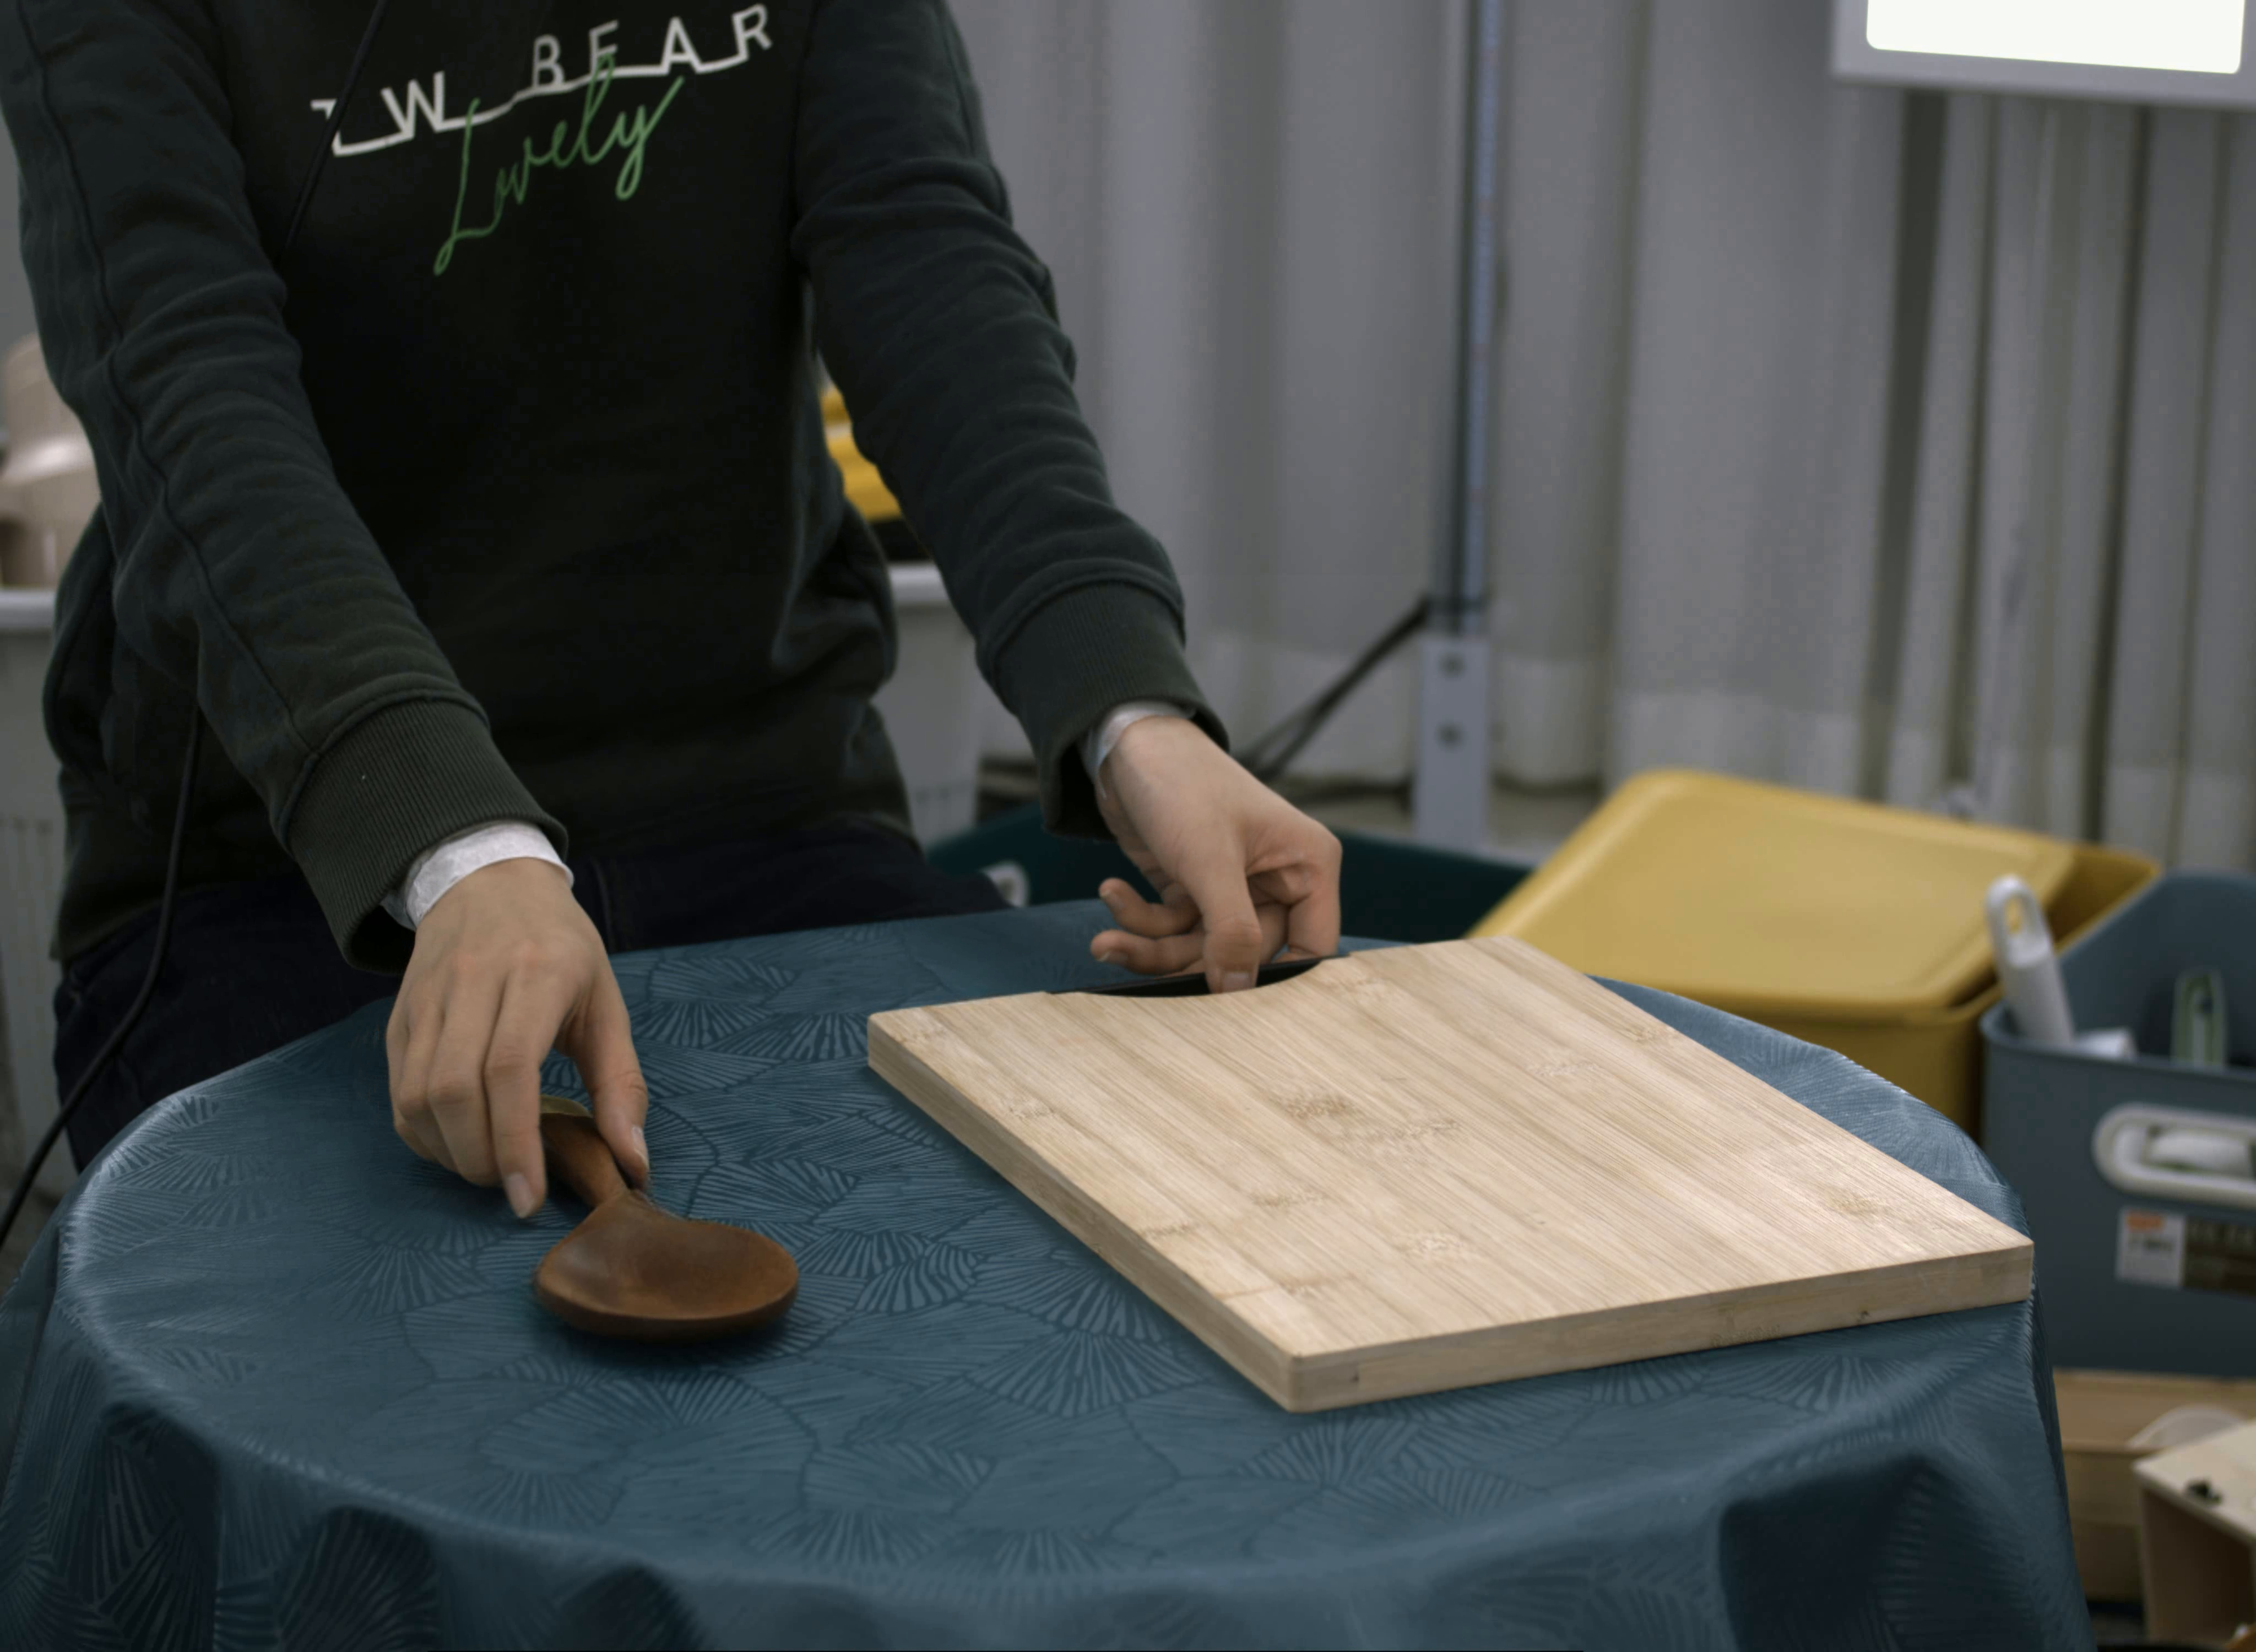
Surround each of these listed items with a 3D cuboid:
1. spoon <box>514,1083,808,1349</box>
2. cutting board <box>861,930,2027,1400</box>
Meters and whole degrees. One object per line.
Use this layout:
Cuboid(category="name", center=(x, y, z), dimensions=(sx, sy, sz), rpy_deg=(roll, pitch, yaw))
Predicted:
Cuboid(category="spoon", center=(-0.150, 0.117, 1.572), dimensions=(0.075, 0.017, 0.213), rpy_deg=(-6, 18, -17))
Cuboid(category="cutting board", center=(0.087, 0.099, 1.647), dimensions=(0.251, 0.024, 0.344), rpy_deg=(-6, 17, -24))
